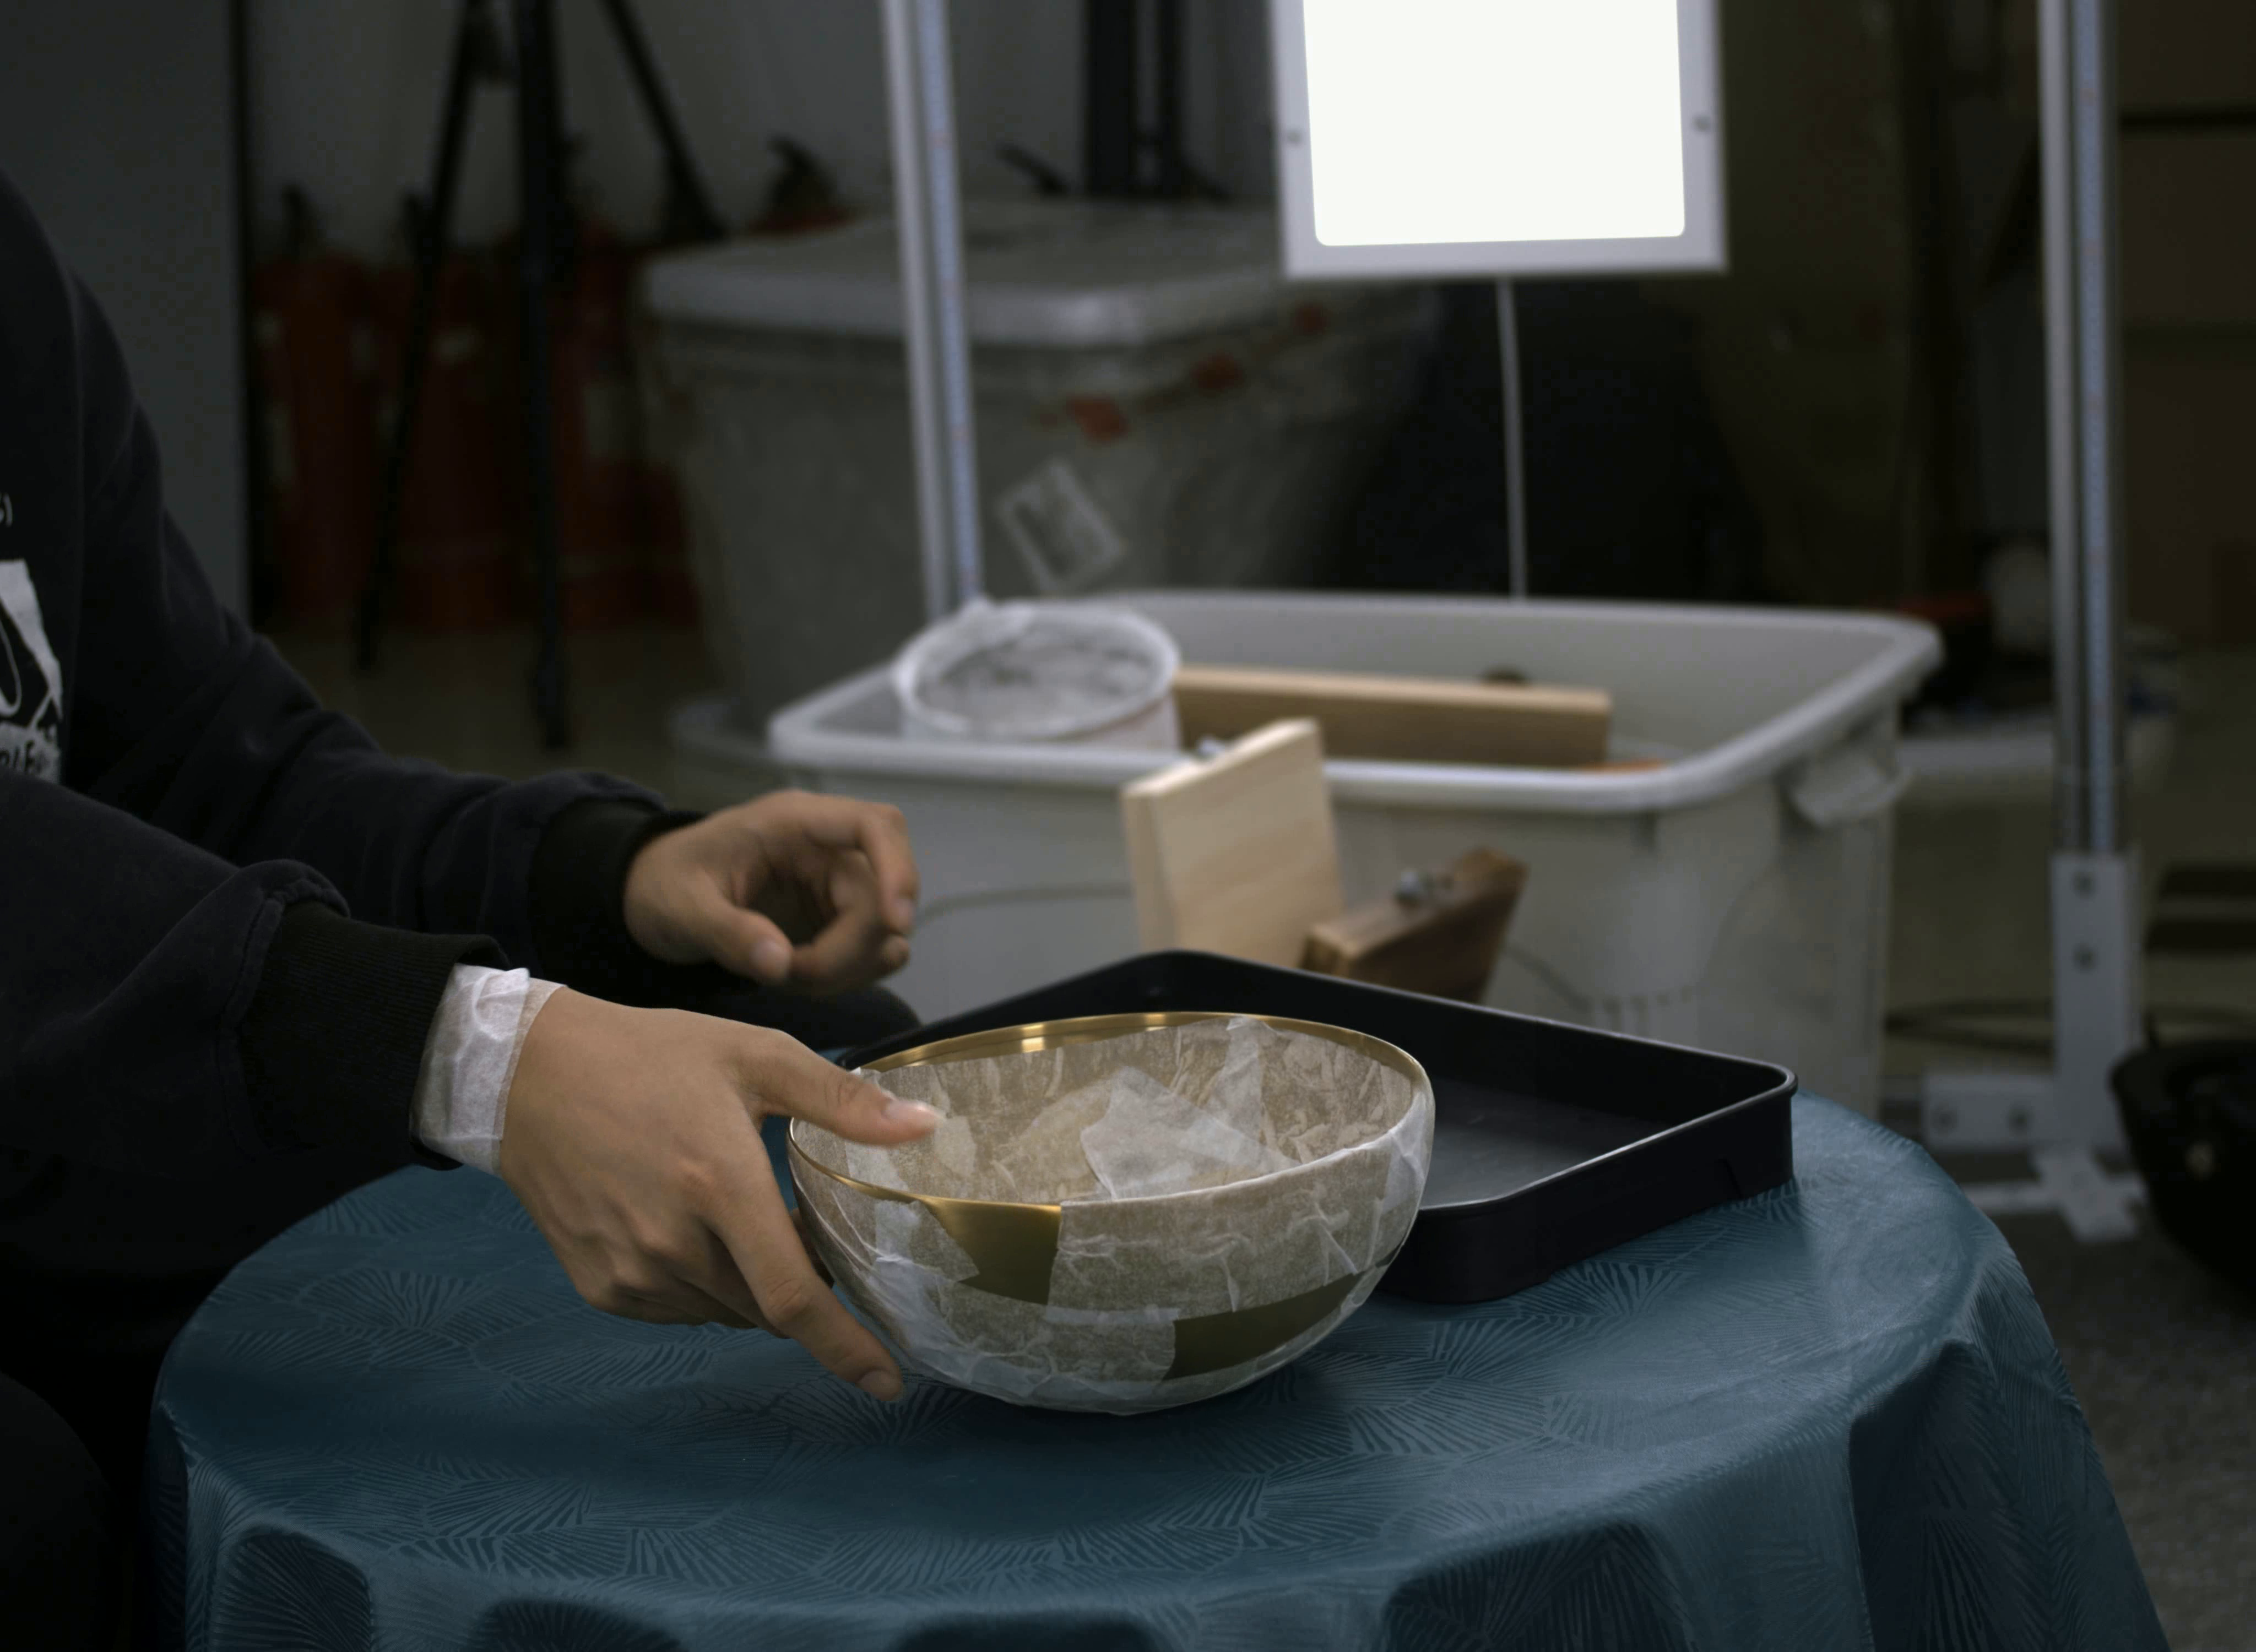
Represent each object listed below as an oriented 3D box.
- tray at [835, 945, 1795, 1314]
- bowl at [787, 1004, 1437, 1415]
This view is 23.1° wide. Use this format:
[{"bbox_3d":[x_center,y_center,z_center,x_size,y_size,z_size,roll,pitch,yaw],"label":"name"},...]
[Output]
[{"bbox_3d":[0.061,0.101,1.910,0.179,0.037,0.325,-16,19,-39],"label":"tray"},{"bbox_3d":[-0.003,0.126,1.707,0.214,0.095,0.214,-5,15,0],"label":"bowl"}]
